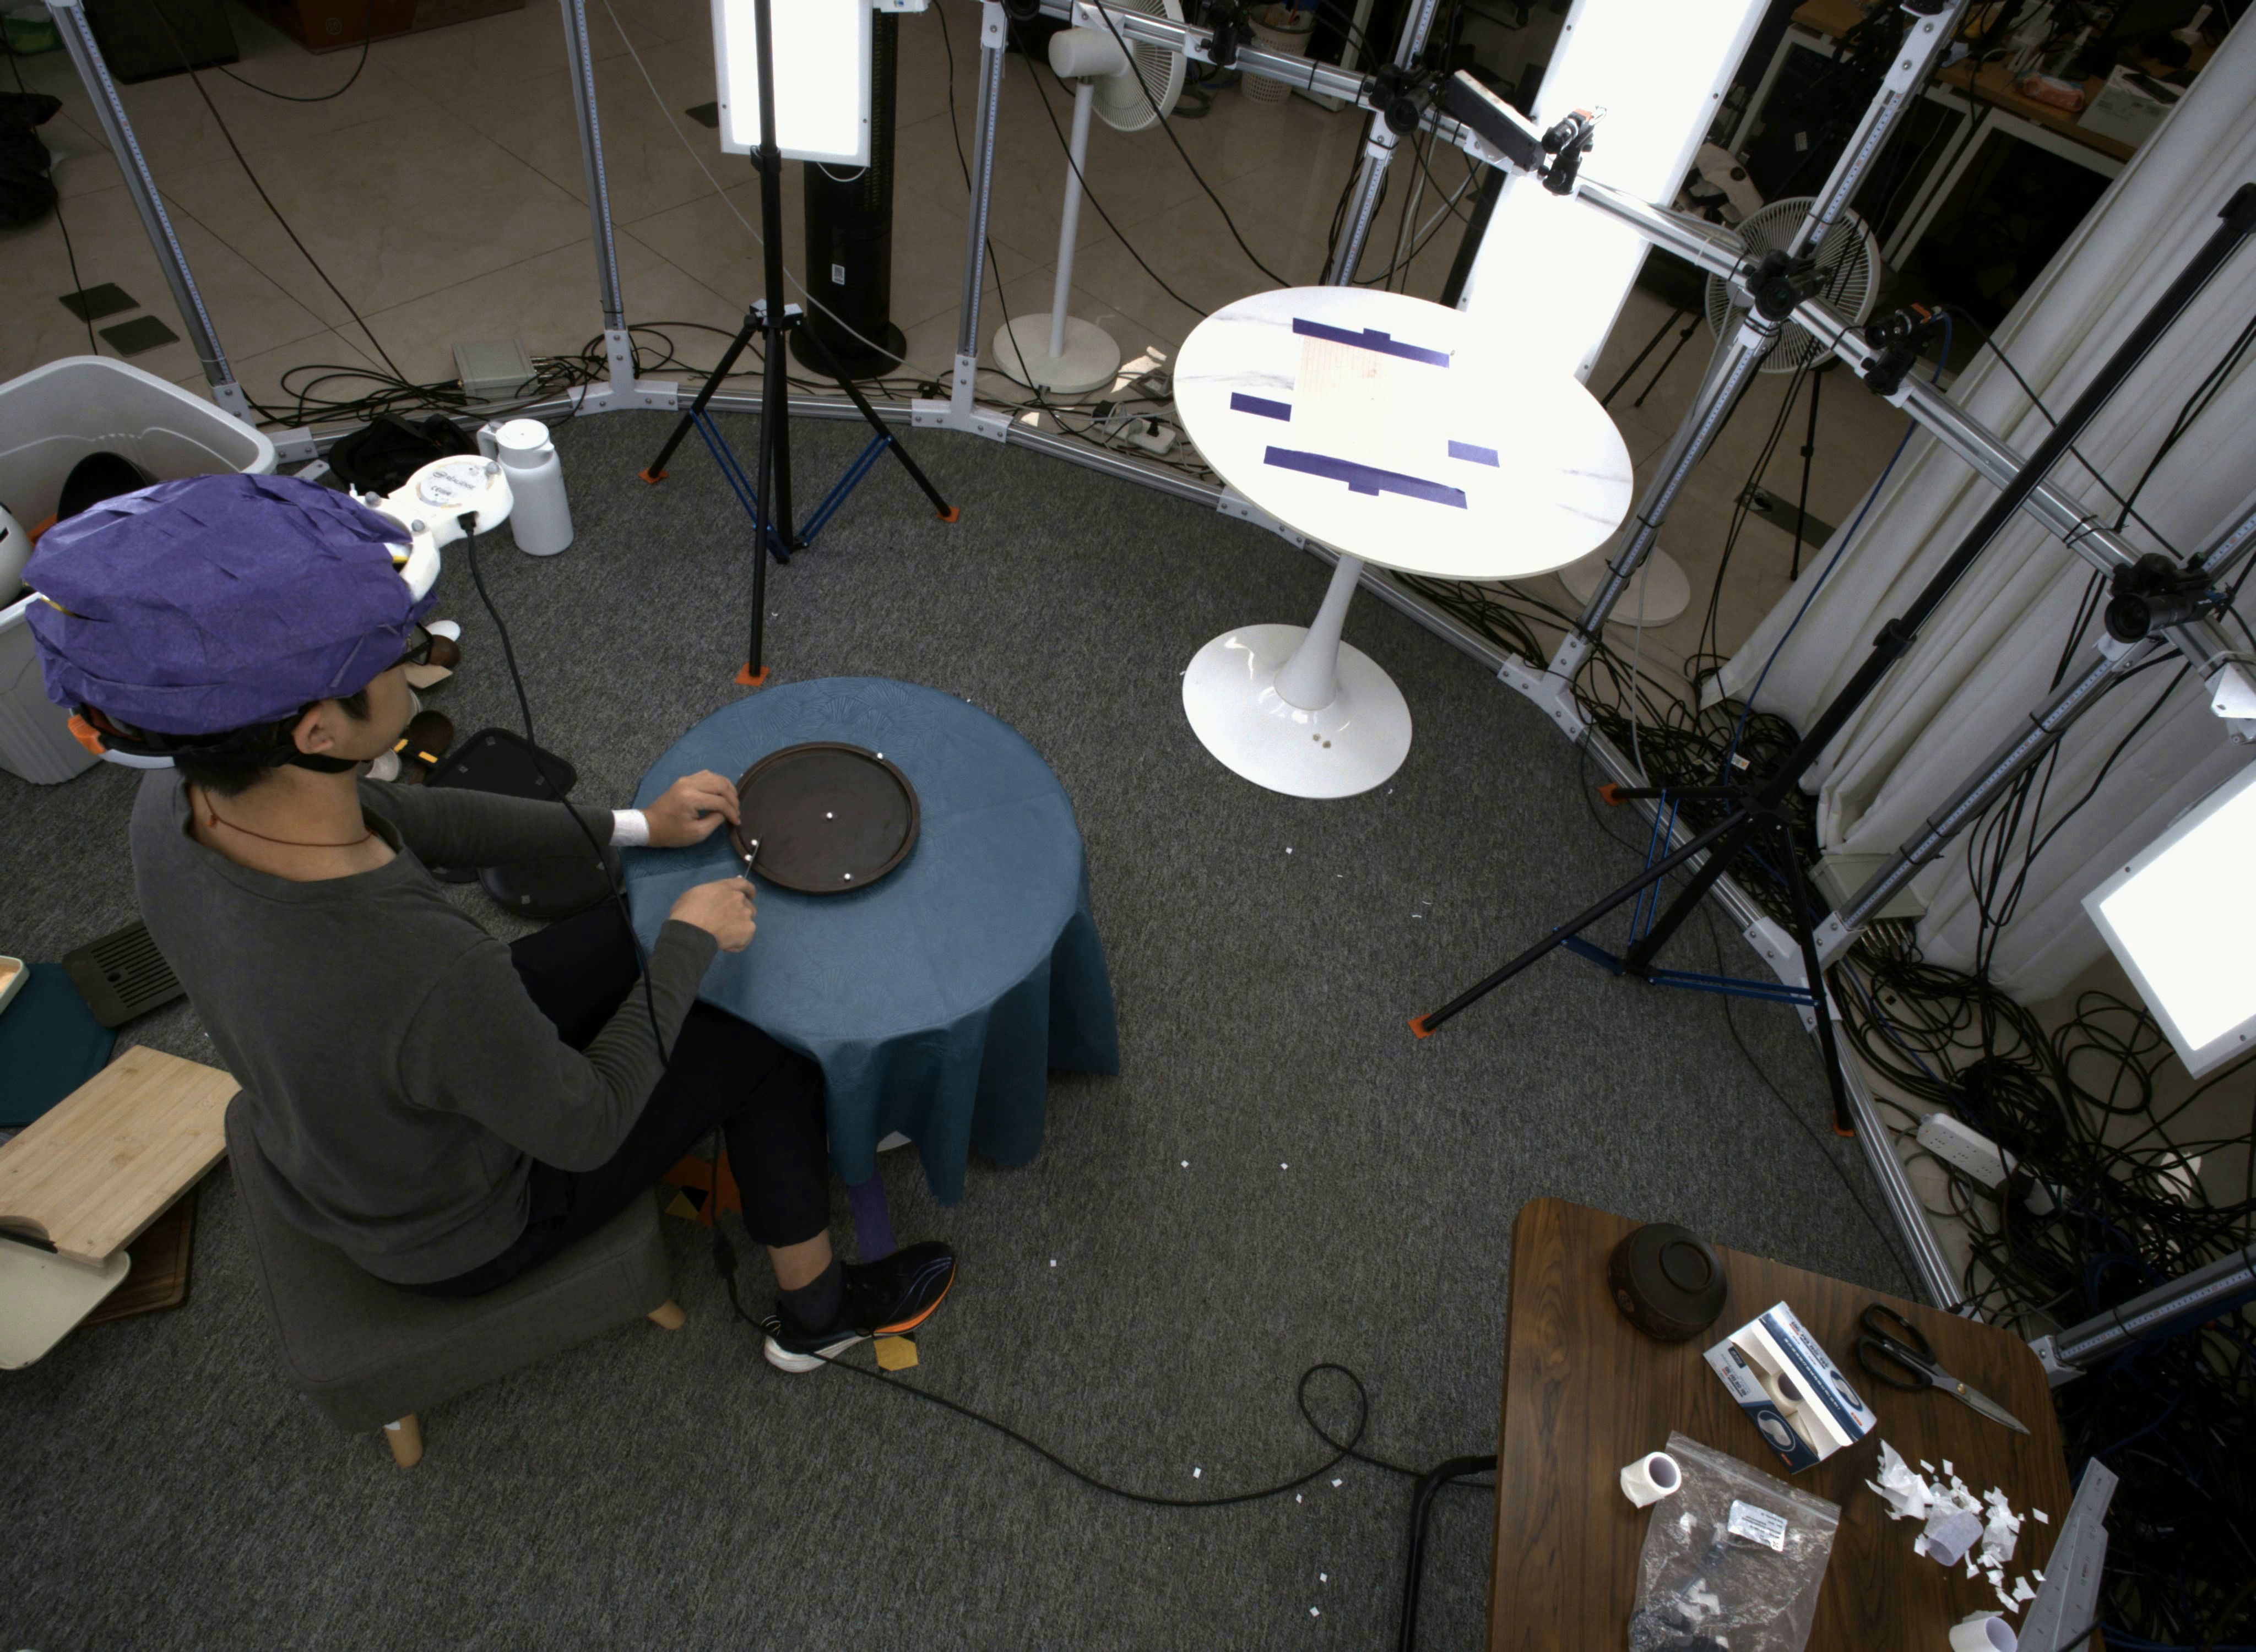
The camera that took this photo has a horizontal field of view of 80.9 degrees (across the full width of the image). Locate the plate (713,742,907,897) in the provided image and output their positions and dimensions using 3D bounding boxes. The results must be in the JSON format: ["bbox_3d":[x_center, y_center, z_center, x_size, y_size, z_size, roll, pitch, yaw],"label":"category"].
[{"bbox_3d":[-0.423,-0.010,1.729,0.254,0.029,0.250,8,51,-9],"label":"plate"}]

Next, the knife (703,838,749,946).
[{"bbox_3d":[-0.491,0.071,1.594,0.016,0.025,0.232,22,27,-15],"label":"knife"}]
